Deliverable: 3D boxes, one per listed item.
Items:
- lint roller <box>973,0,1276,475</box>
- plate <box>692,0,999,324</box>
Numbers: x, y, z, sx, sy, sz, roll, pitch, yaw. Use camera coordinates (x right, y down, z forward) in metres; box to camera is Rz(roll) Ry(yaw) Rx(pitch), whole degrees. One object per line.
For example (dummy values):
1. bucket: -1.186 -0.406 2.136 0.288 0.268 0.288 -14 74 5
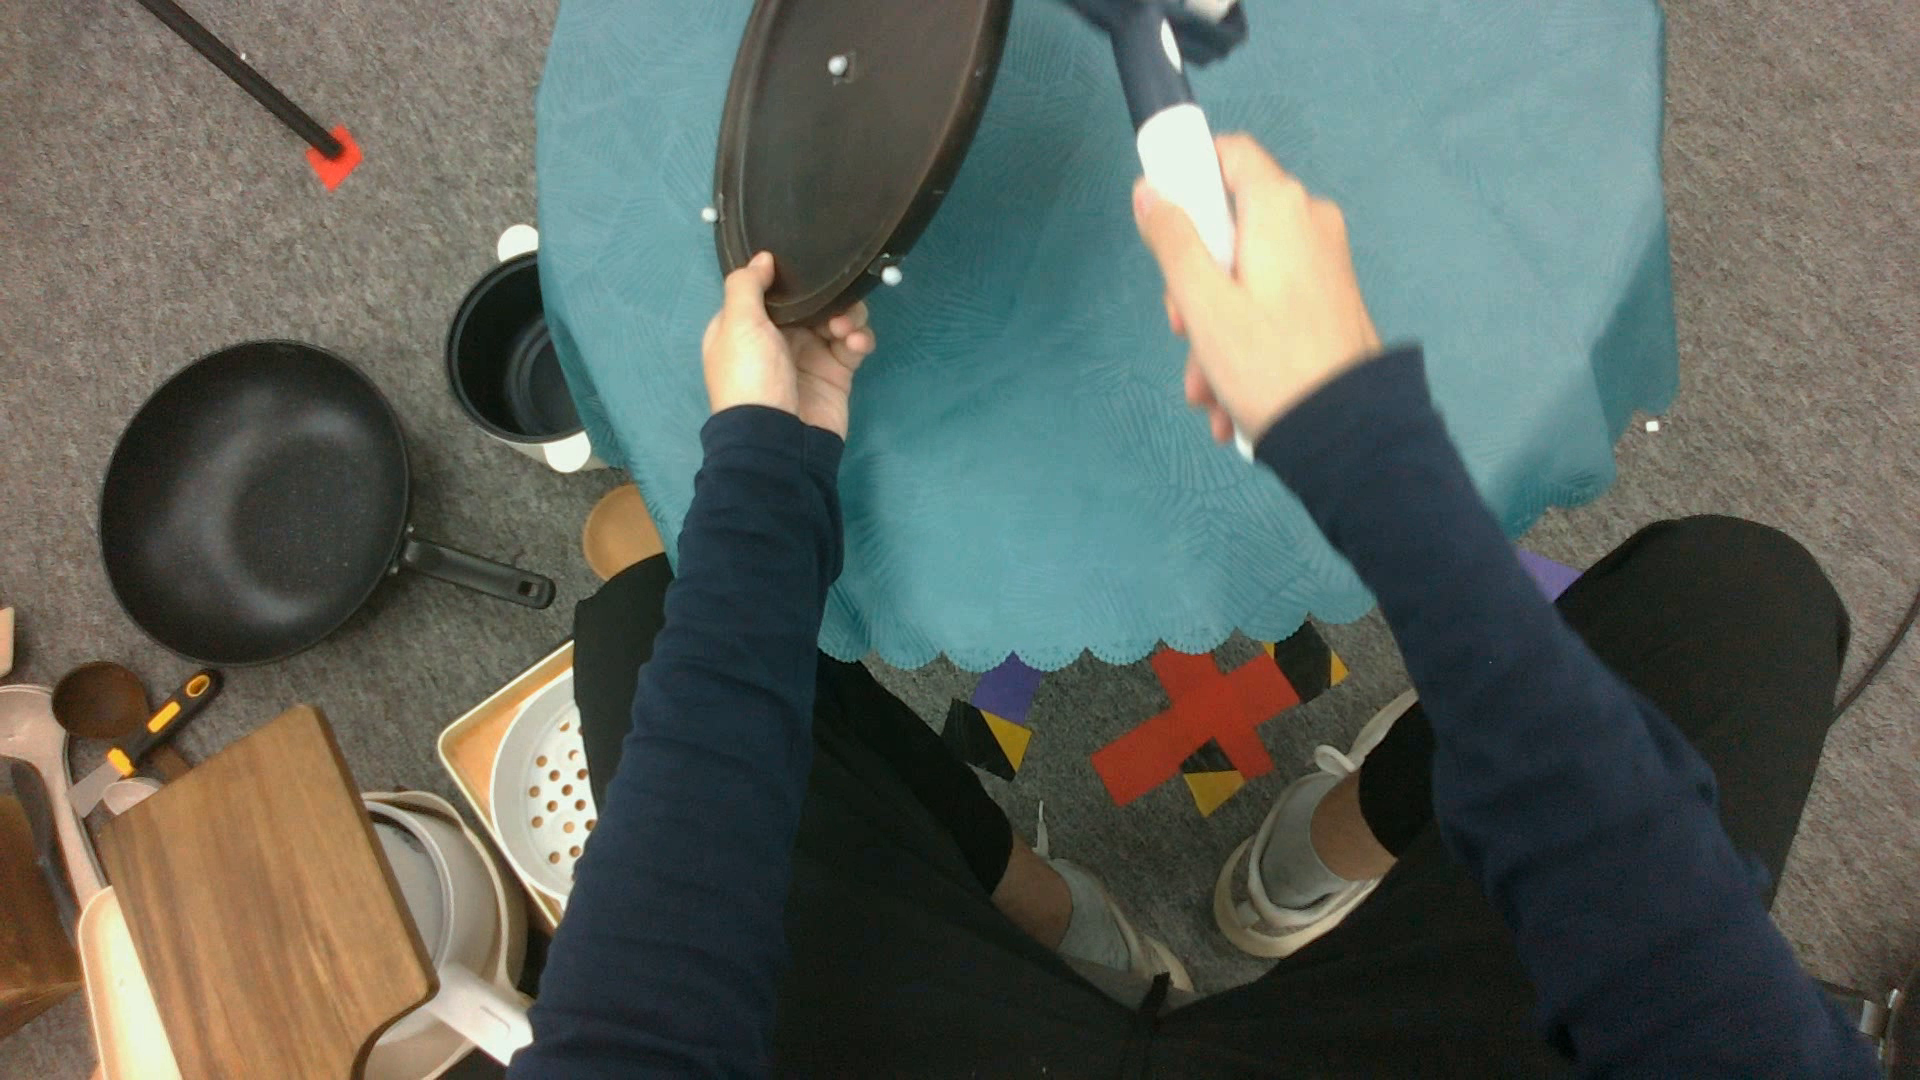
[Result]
1. lint roller: 0.084 -0.146 0.550 0.050 0.177 0.247 -26 78 36
2. plate: -0.061 -0.226 0.657 0.029 0.254 0.255 11 74 -35
